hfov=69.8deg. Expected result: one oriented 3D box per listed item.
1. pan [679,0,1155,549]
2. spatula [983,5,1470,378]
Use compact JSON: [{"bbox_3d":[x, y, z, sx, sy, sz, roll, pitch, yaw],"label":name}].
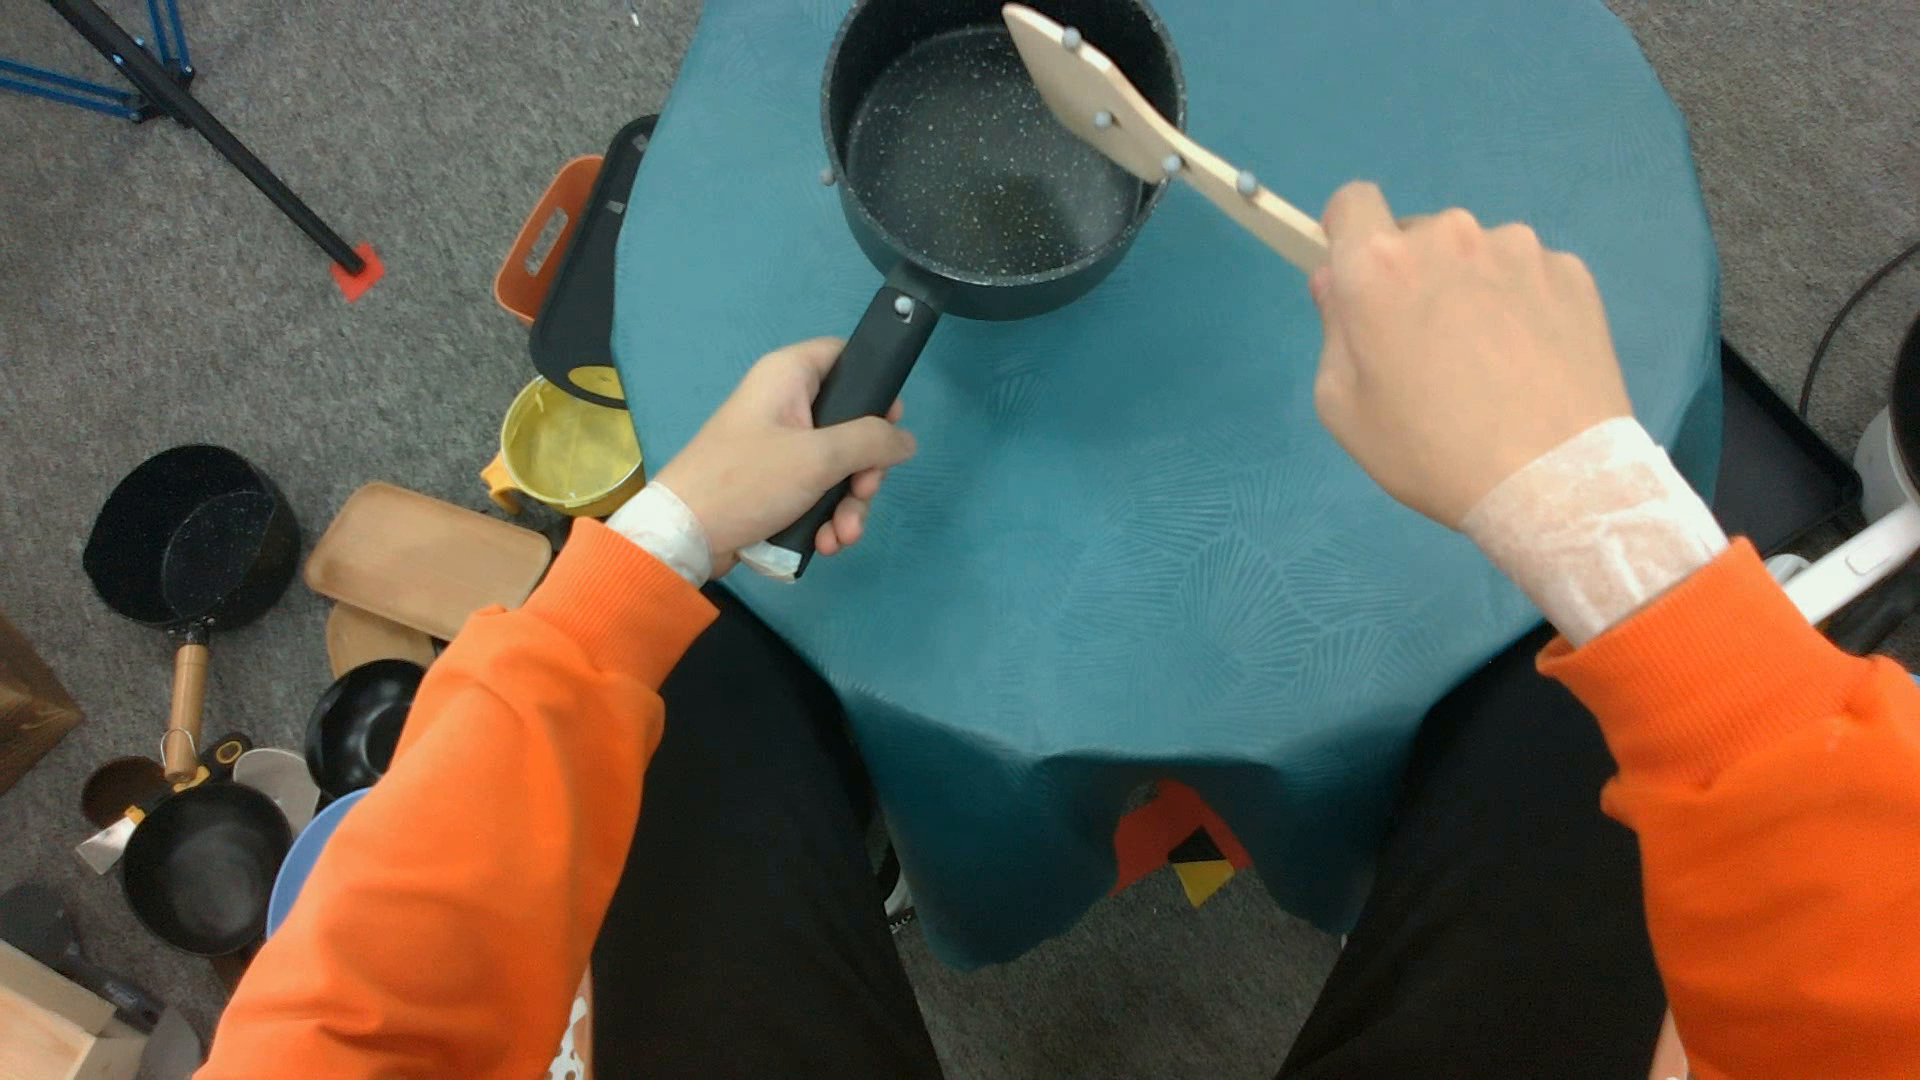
[{"bbox_3d":[-0.032,-0.137,0.661,0.172,0.086,0.329,28,79,2],"label":"pan"},{"bbox_3d":[0.097,-0.145,0.557,0.010,0.072,0.293,-39,49,-3],"label":"spatula"}]
